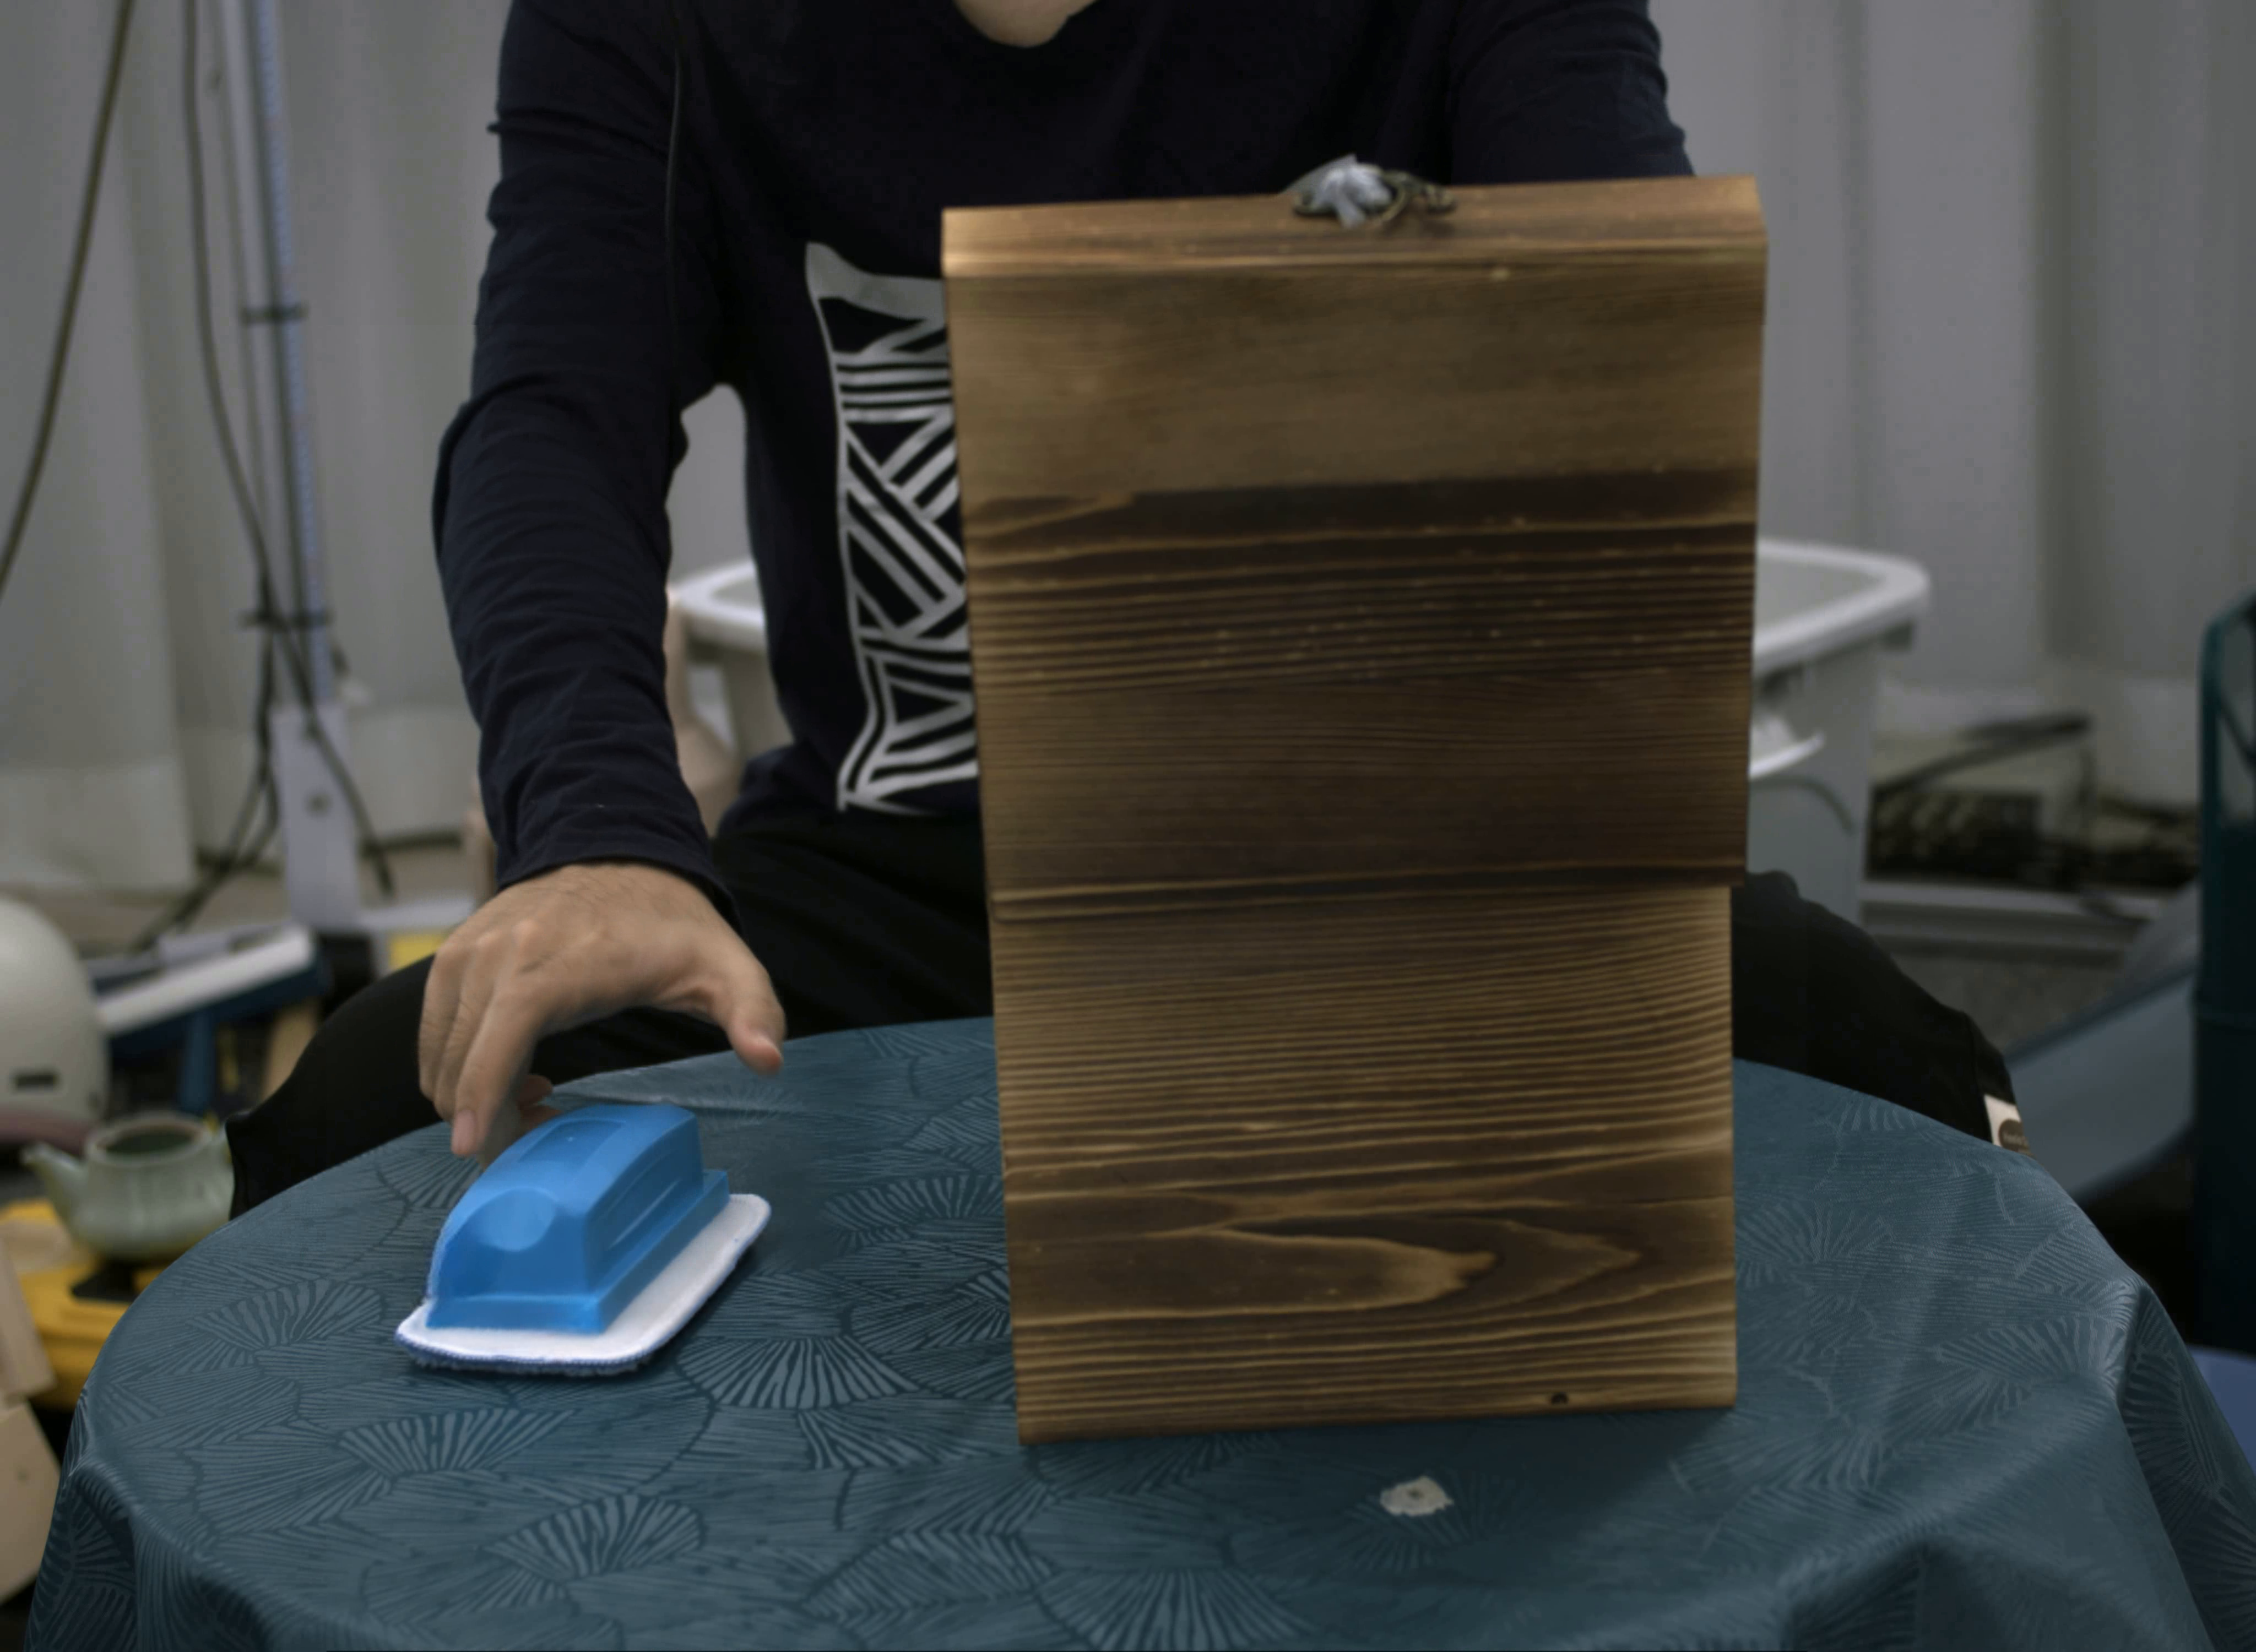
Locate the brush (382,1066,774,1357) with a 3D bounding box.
[{"bbox_3d":[-0.163,0.112,1.641,0.084,0.055,0.144,4,18,16],"label":"brush"}]

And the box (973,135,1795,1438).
[{"bbox_3d":[0.062,-0.021,1.514,0.208,0.374,0.324,-3,14,-1],"label":"box"}]
